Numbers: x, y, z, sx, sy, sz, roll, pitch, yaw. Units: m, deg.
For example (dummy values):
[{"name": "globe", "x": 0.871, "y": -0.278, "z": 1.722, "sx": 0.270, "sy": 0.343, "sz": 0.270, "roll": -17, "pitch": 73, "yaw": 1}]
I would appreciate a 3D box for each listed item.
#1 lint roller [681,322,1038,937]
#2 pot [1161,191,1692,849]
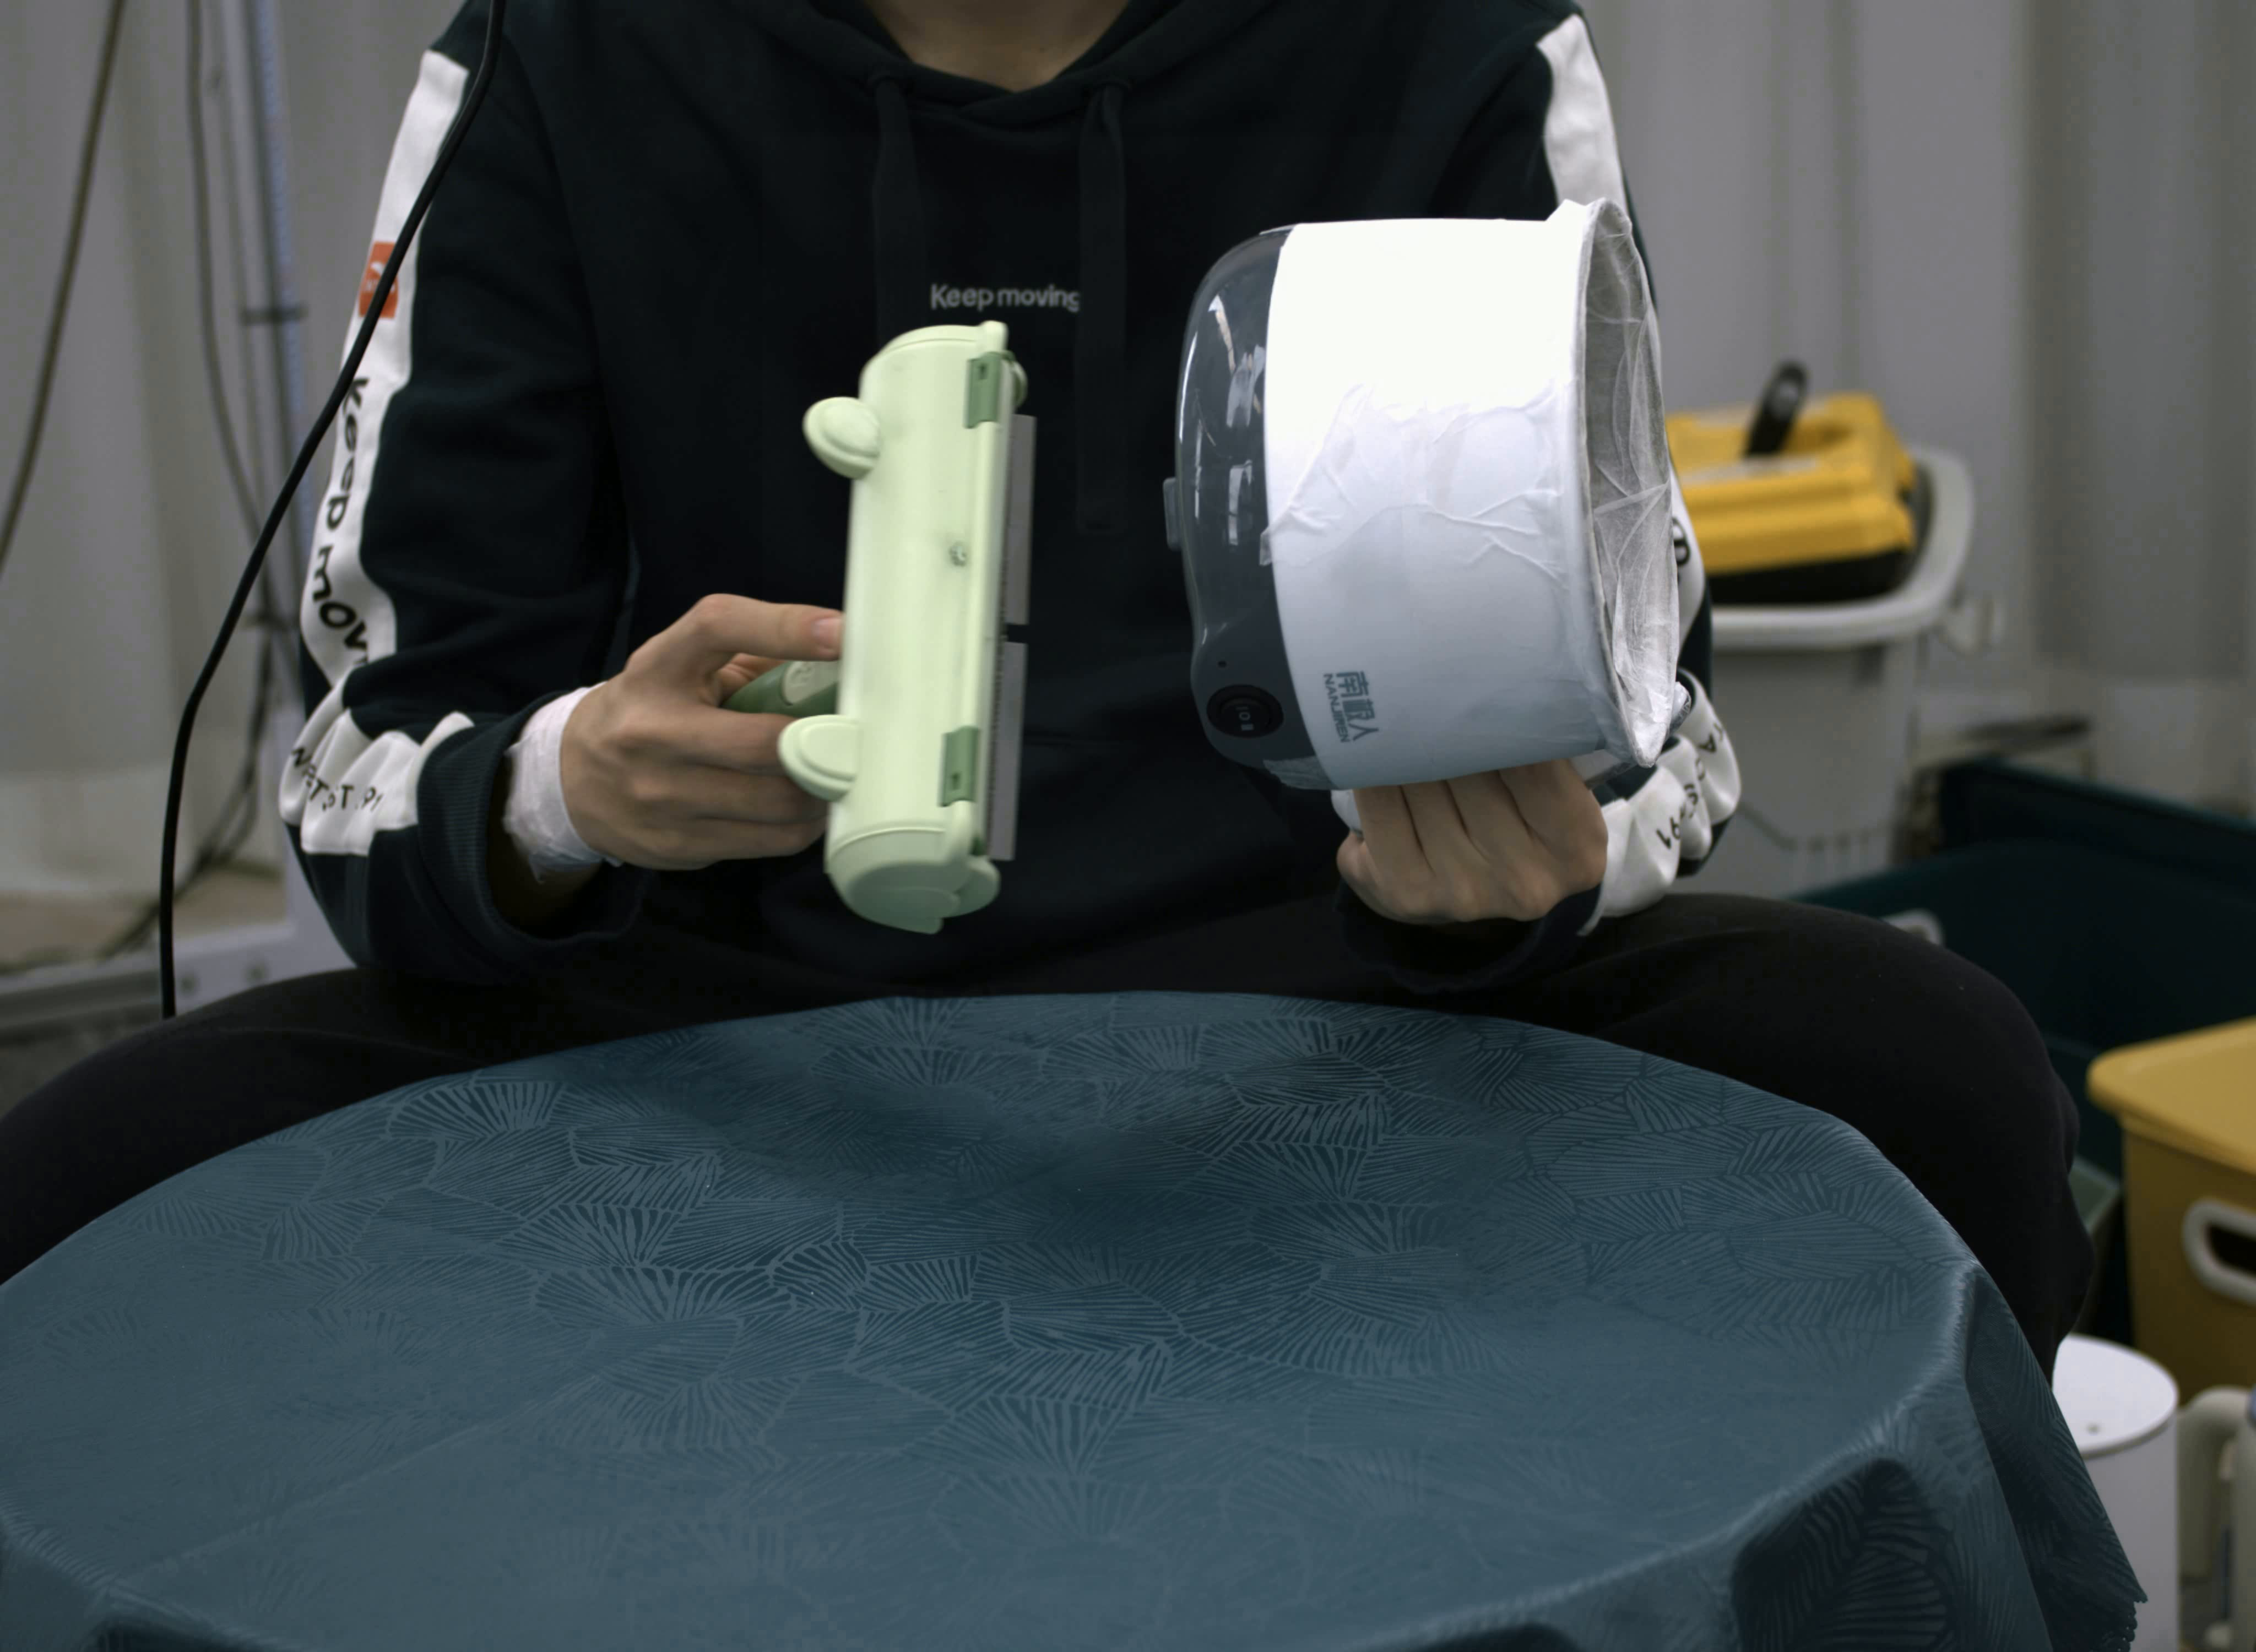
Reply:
[{"name": "lint roller", "x": -0.103, "y": -0.050, "z": 1.762, "sx": 0.183, "sy": 0.201, "sz": 0.081, "roll": -23, "pitch": -37, "yaw": 39}, {"name": "pot", "x": 0.099, "y": -0.084, "z": 1.721, "sx": 0.136, "sy": 0.230, "sz": 0.181, "roll": -4, "pitch": 47, "yaw": 15}]
